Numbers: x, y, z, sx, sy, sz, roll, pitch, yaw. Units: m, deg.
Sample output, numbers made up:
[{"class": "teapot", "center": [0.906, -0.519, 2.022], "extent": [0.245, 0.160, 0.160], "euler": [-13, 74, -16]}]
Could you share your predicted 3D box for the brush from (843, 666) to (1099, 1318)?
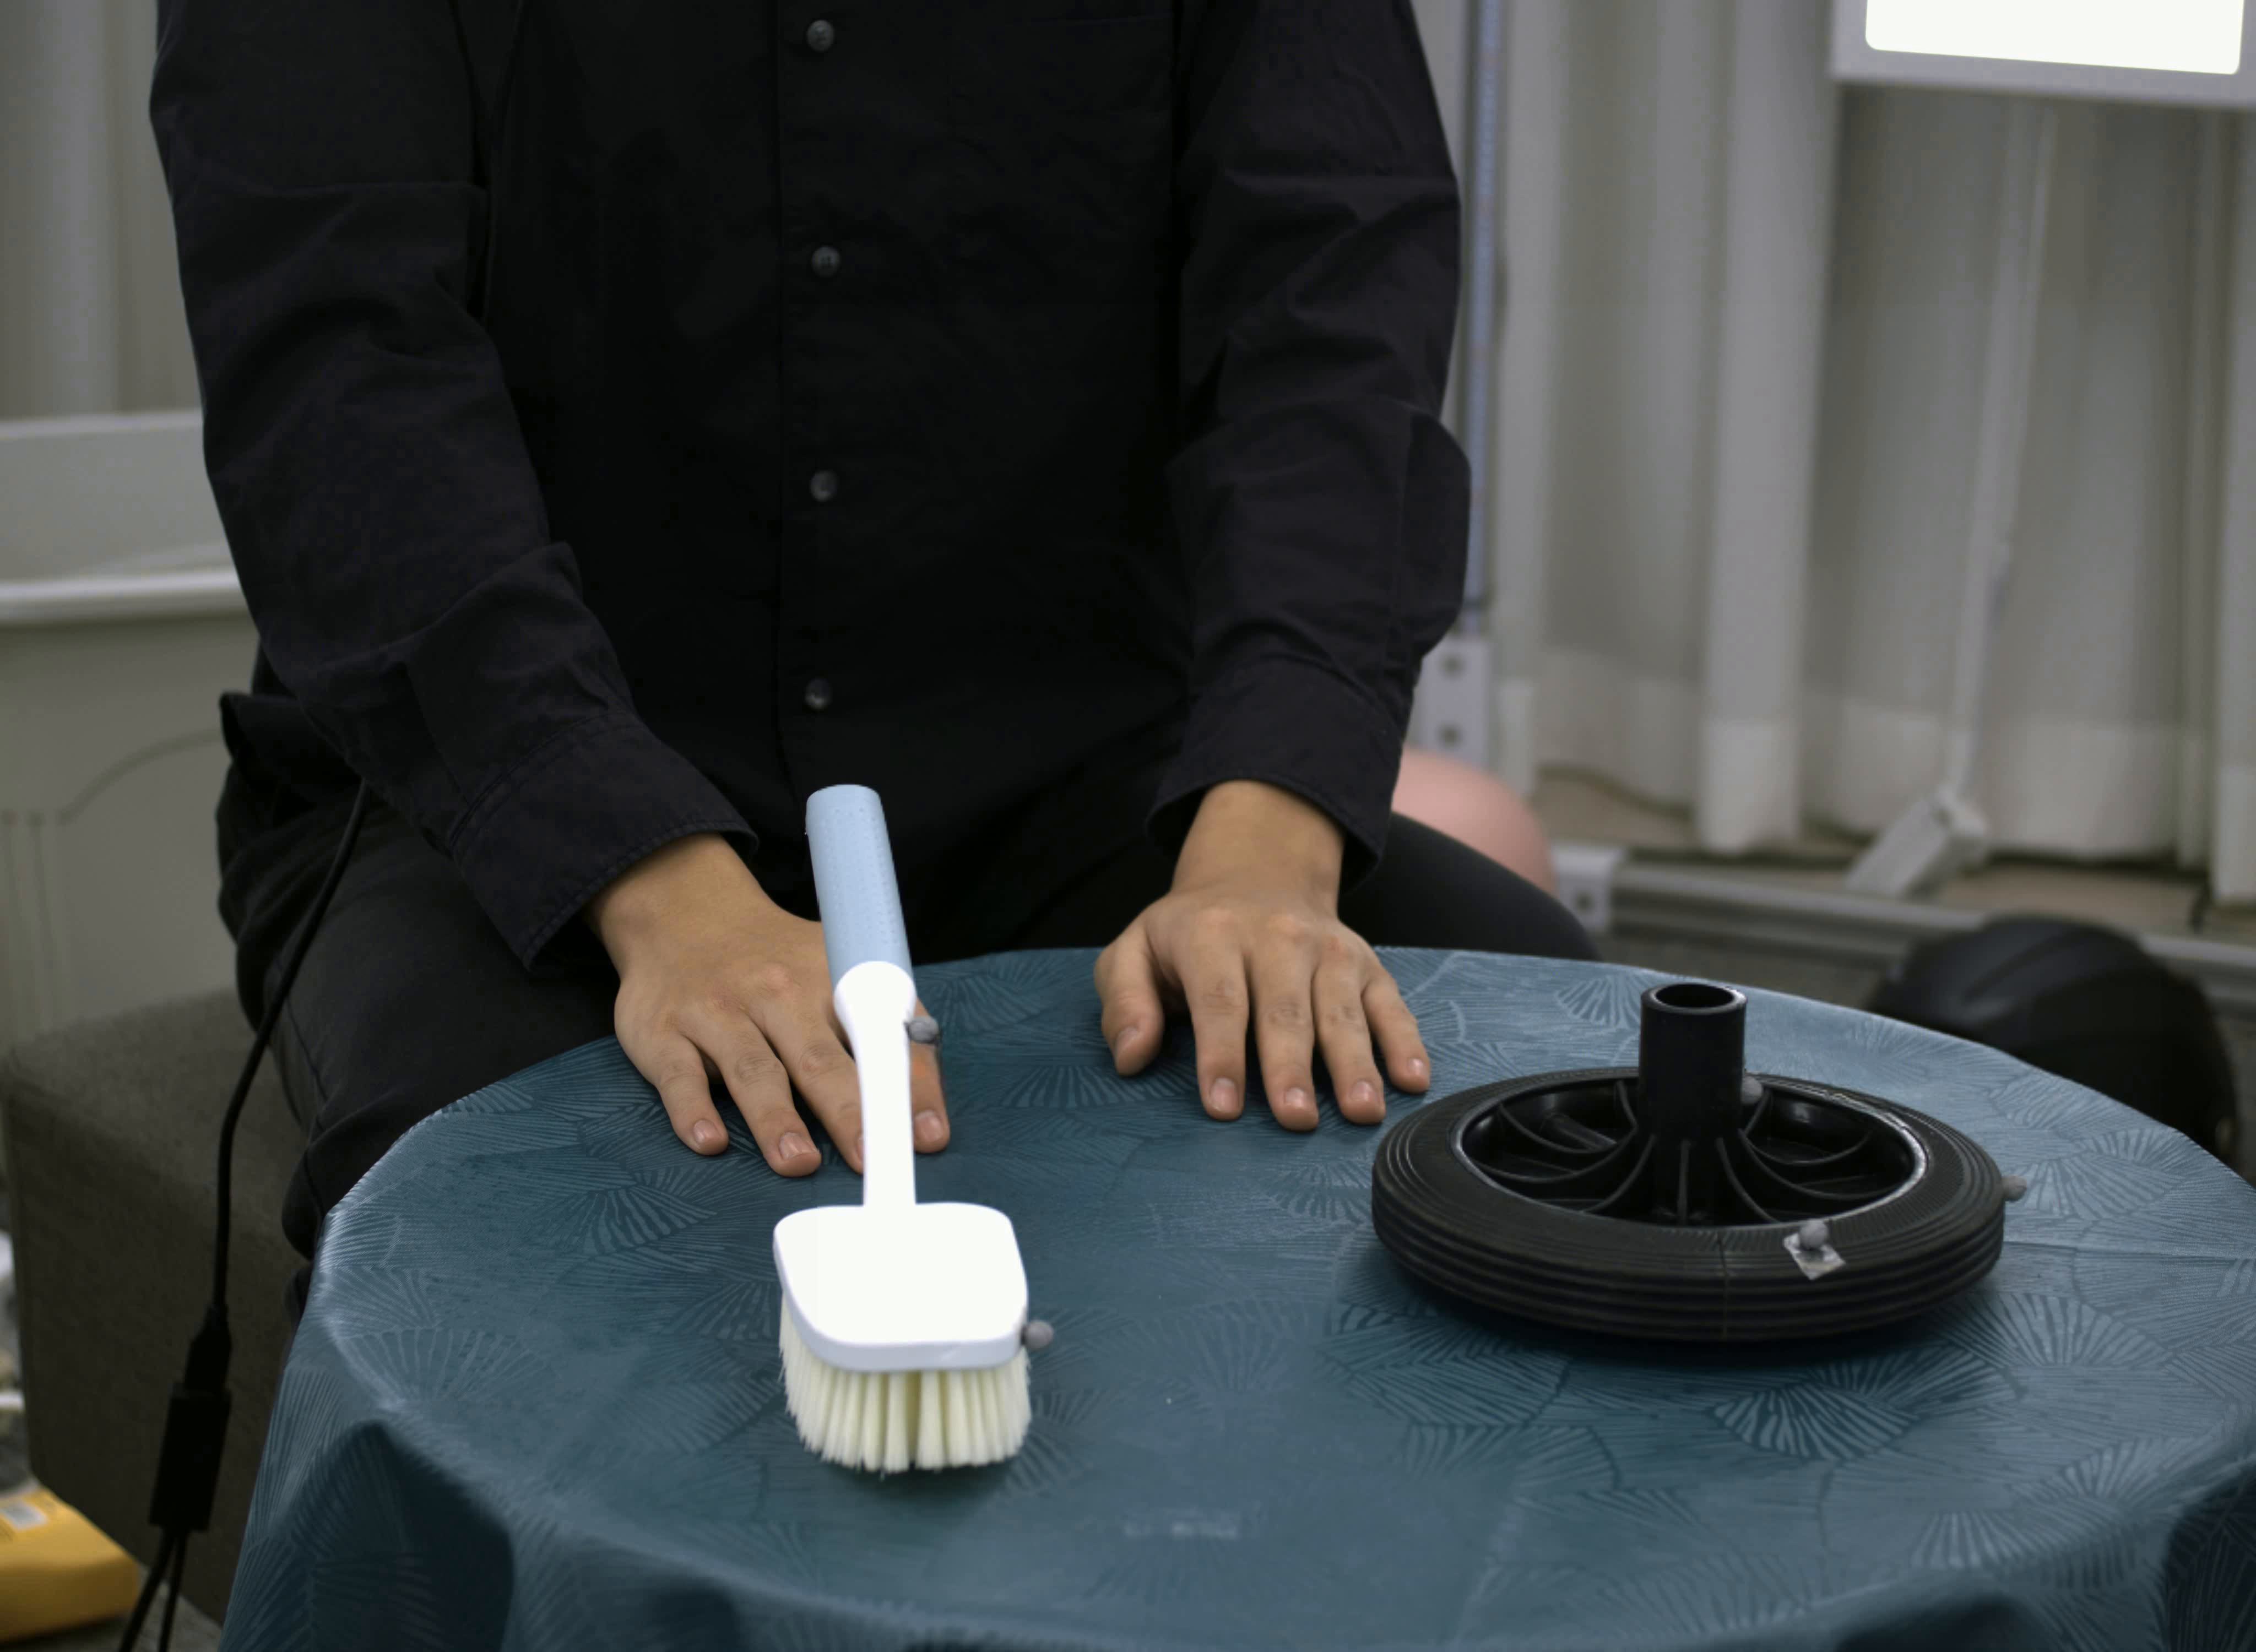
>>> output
[{"class": "brush", "center": [-0.049, 0.061, 1.567], "extent": [0.084, 0.084, 0.322], "euler": [33, 19, -22]}]

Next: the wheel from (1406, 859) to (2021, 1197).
[{"class": "wheel", "center": [0.178, 0.052, 1.608], "extent": [0.190, 0.080, 0.185], "euler": [-12, 20, -32]}]
